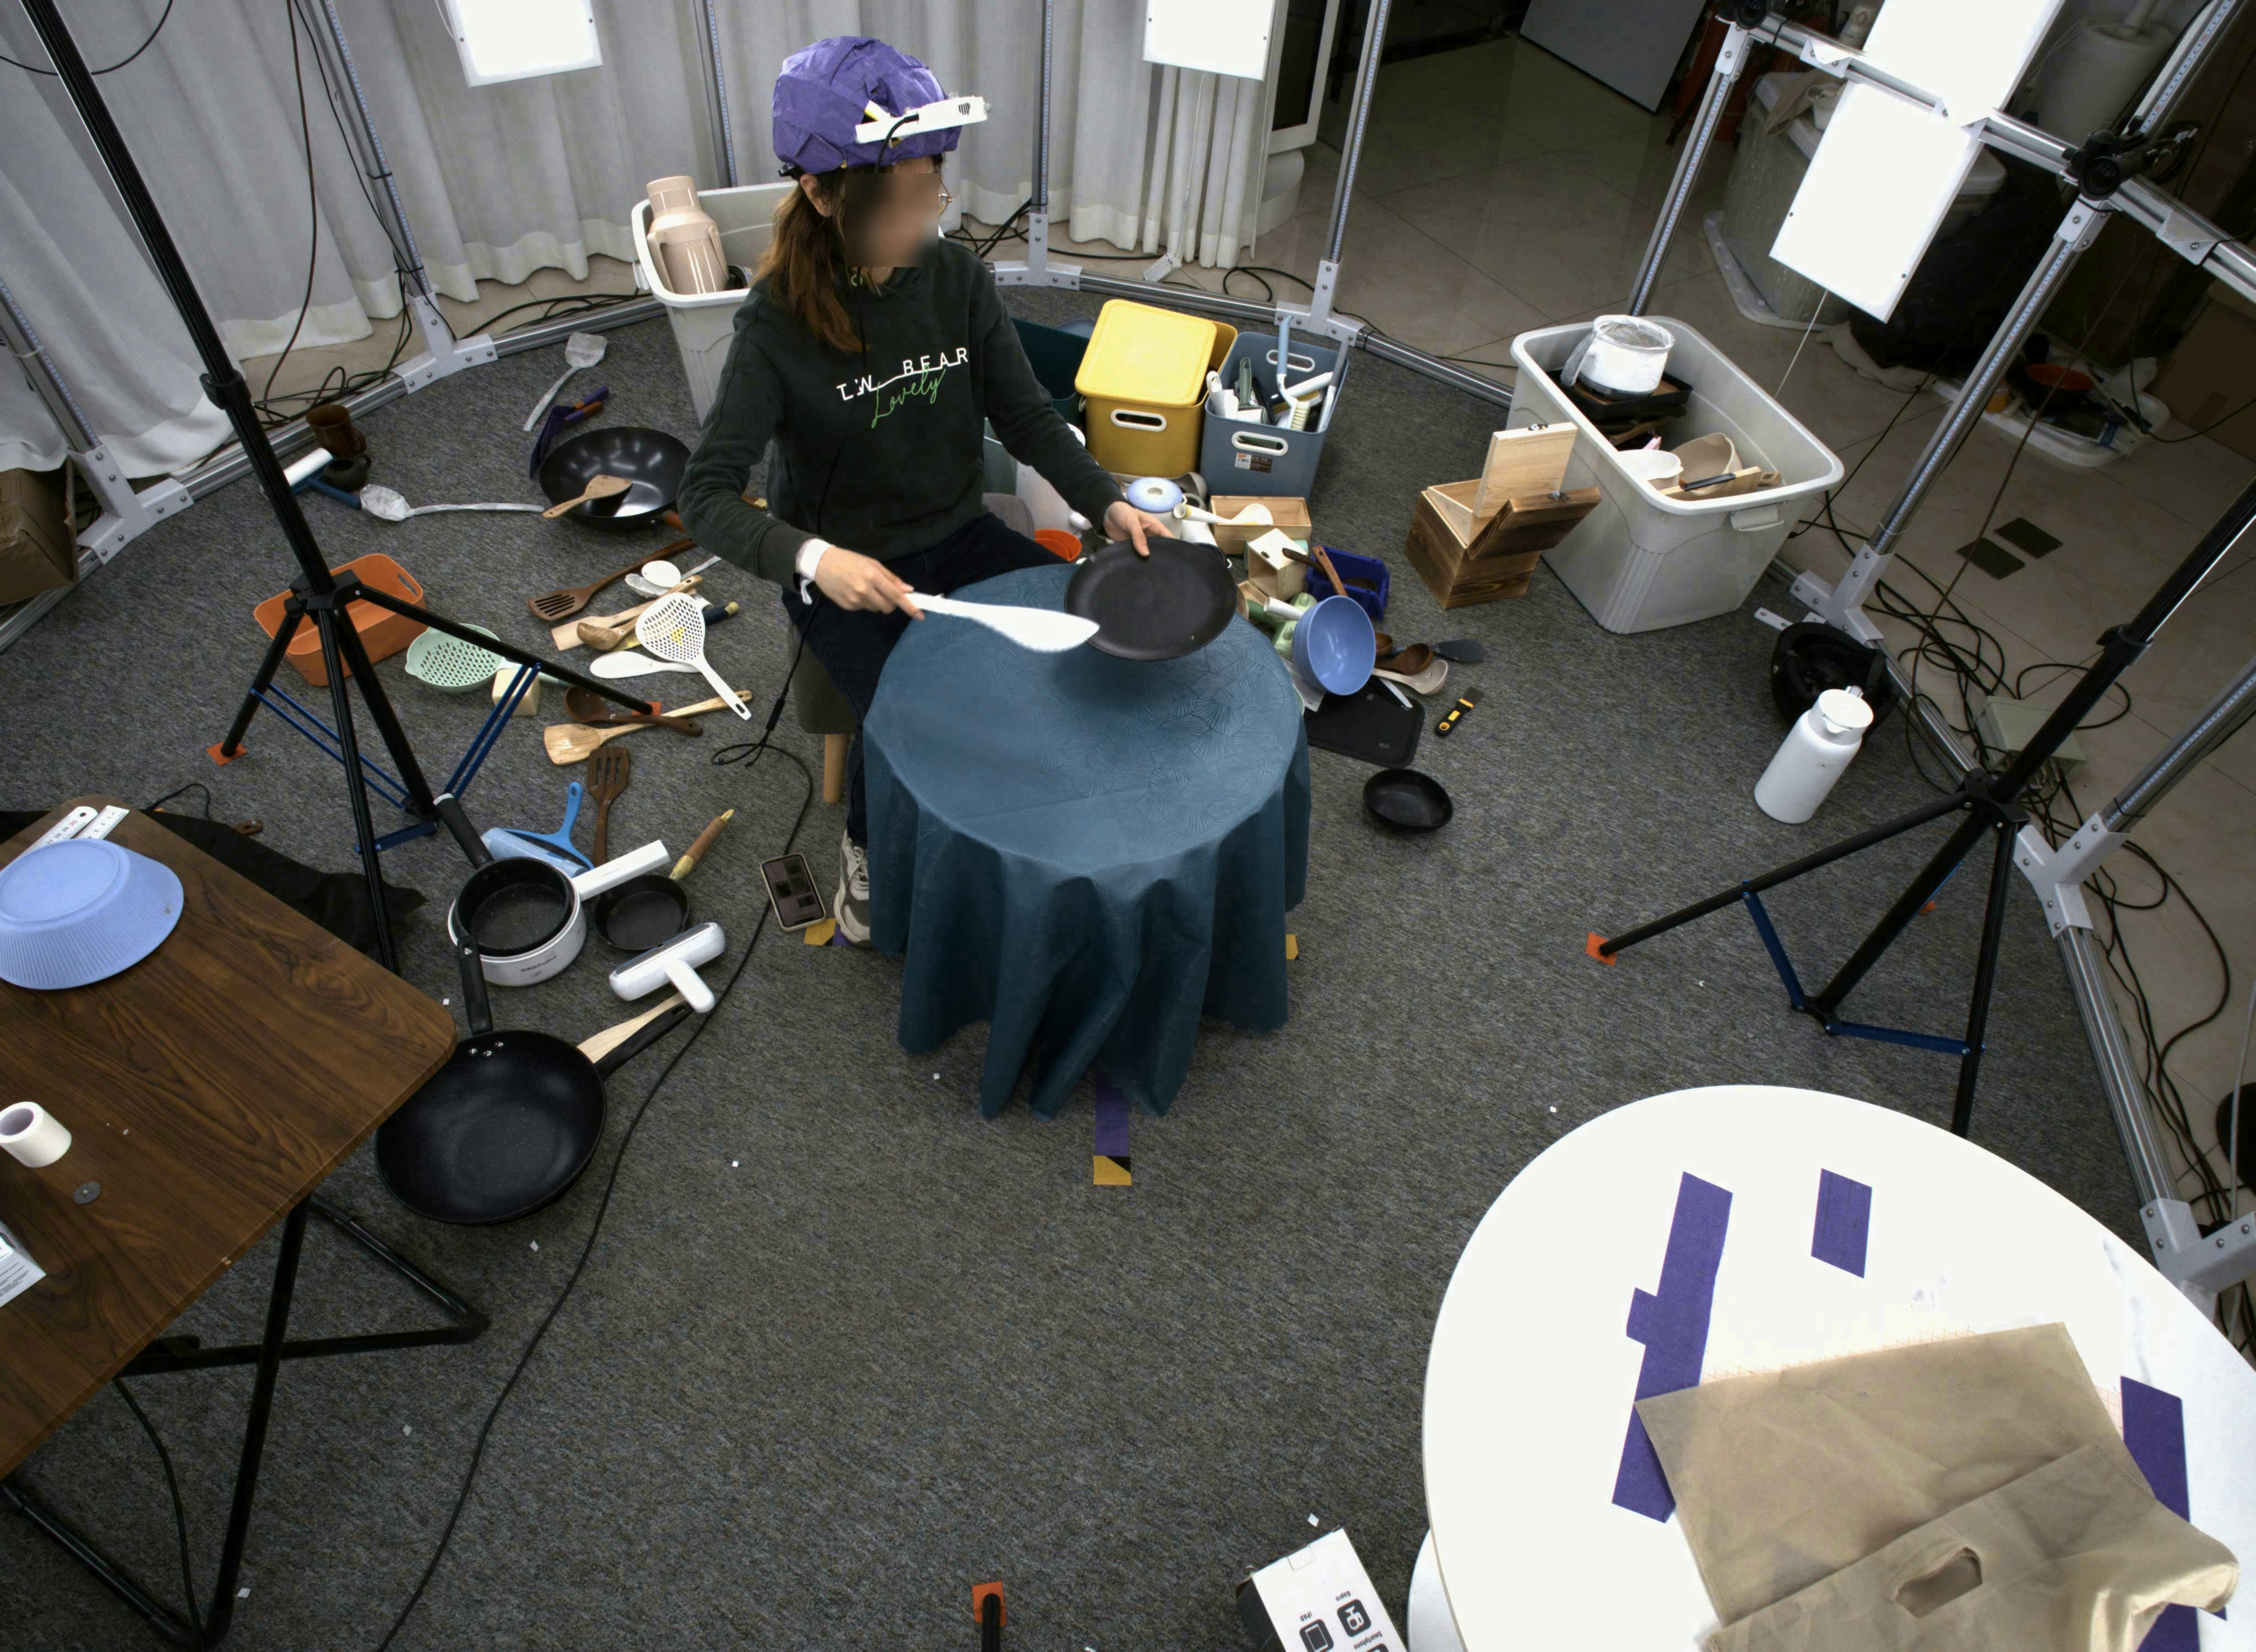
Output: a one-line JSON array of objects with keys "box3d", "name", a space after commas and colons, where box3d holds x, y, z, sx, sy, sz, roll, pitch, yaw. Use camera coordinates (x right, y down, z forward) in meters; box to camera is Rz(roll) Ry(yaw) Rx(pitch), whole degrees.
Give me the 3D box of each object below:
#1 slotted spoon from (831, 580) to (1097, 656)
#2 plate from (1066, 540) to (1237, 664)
[{"box3d": [-0.211, -0.272, 1.639, 0.351, 0.045, 0.137, 17, 15, 9], "name": "slotted spoon"}, {"box3d": [0.033, -0.317, 1.827, 0.244, 0.023, 0.250, -2, 53, 3], "name": "plate"}]
